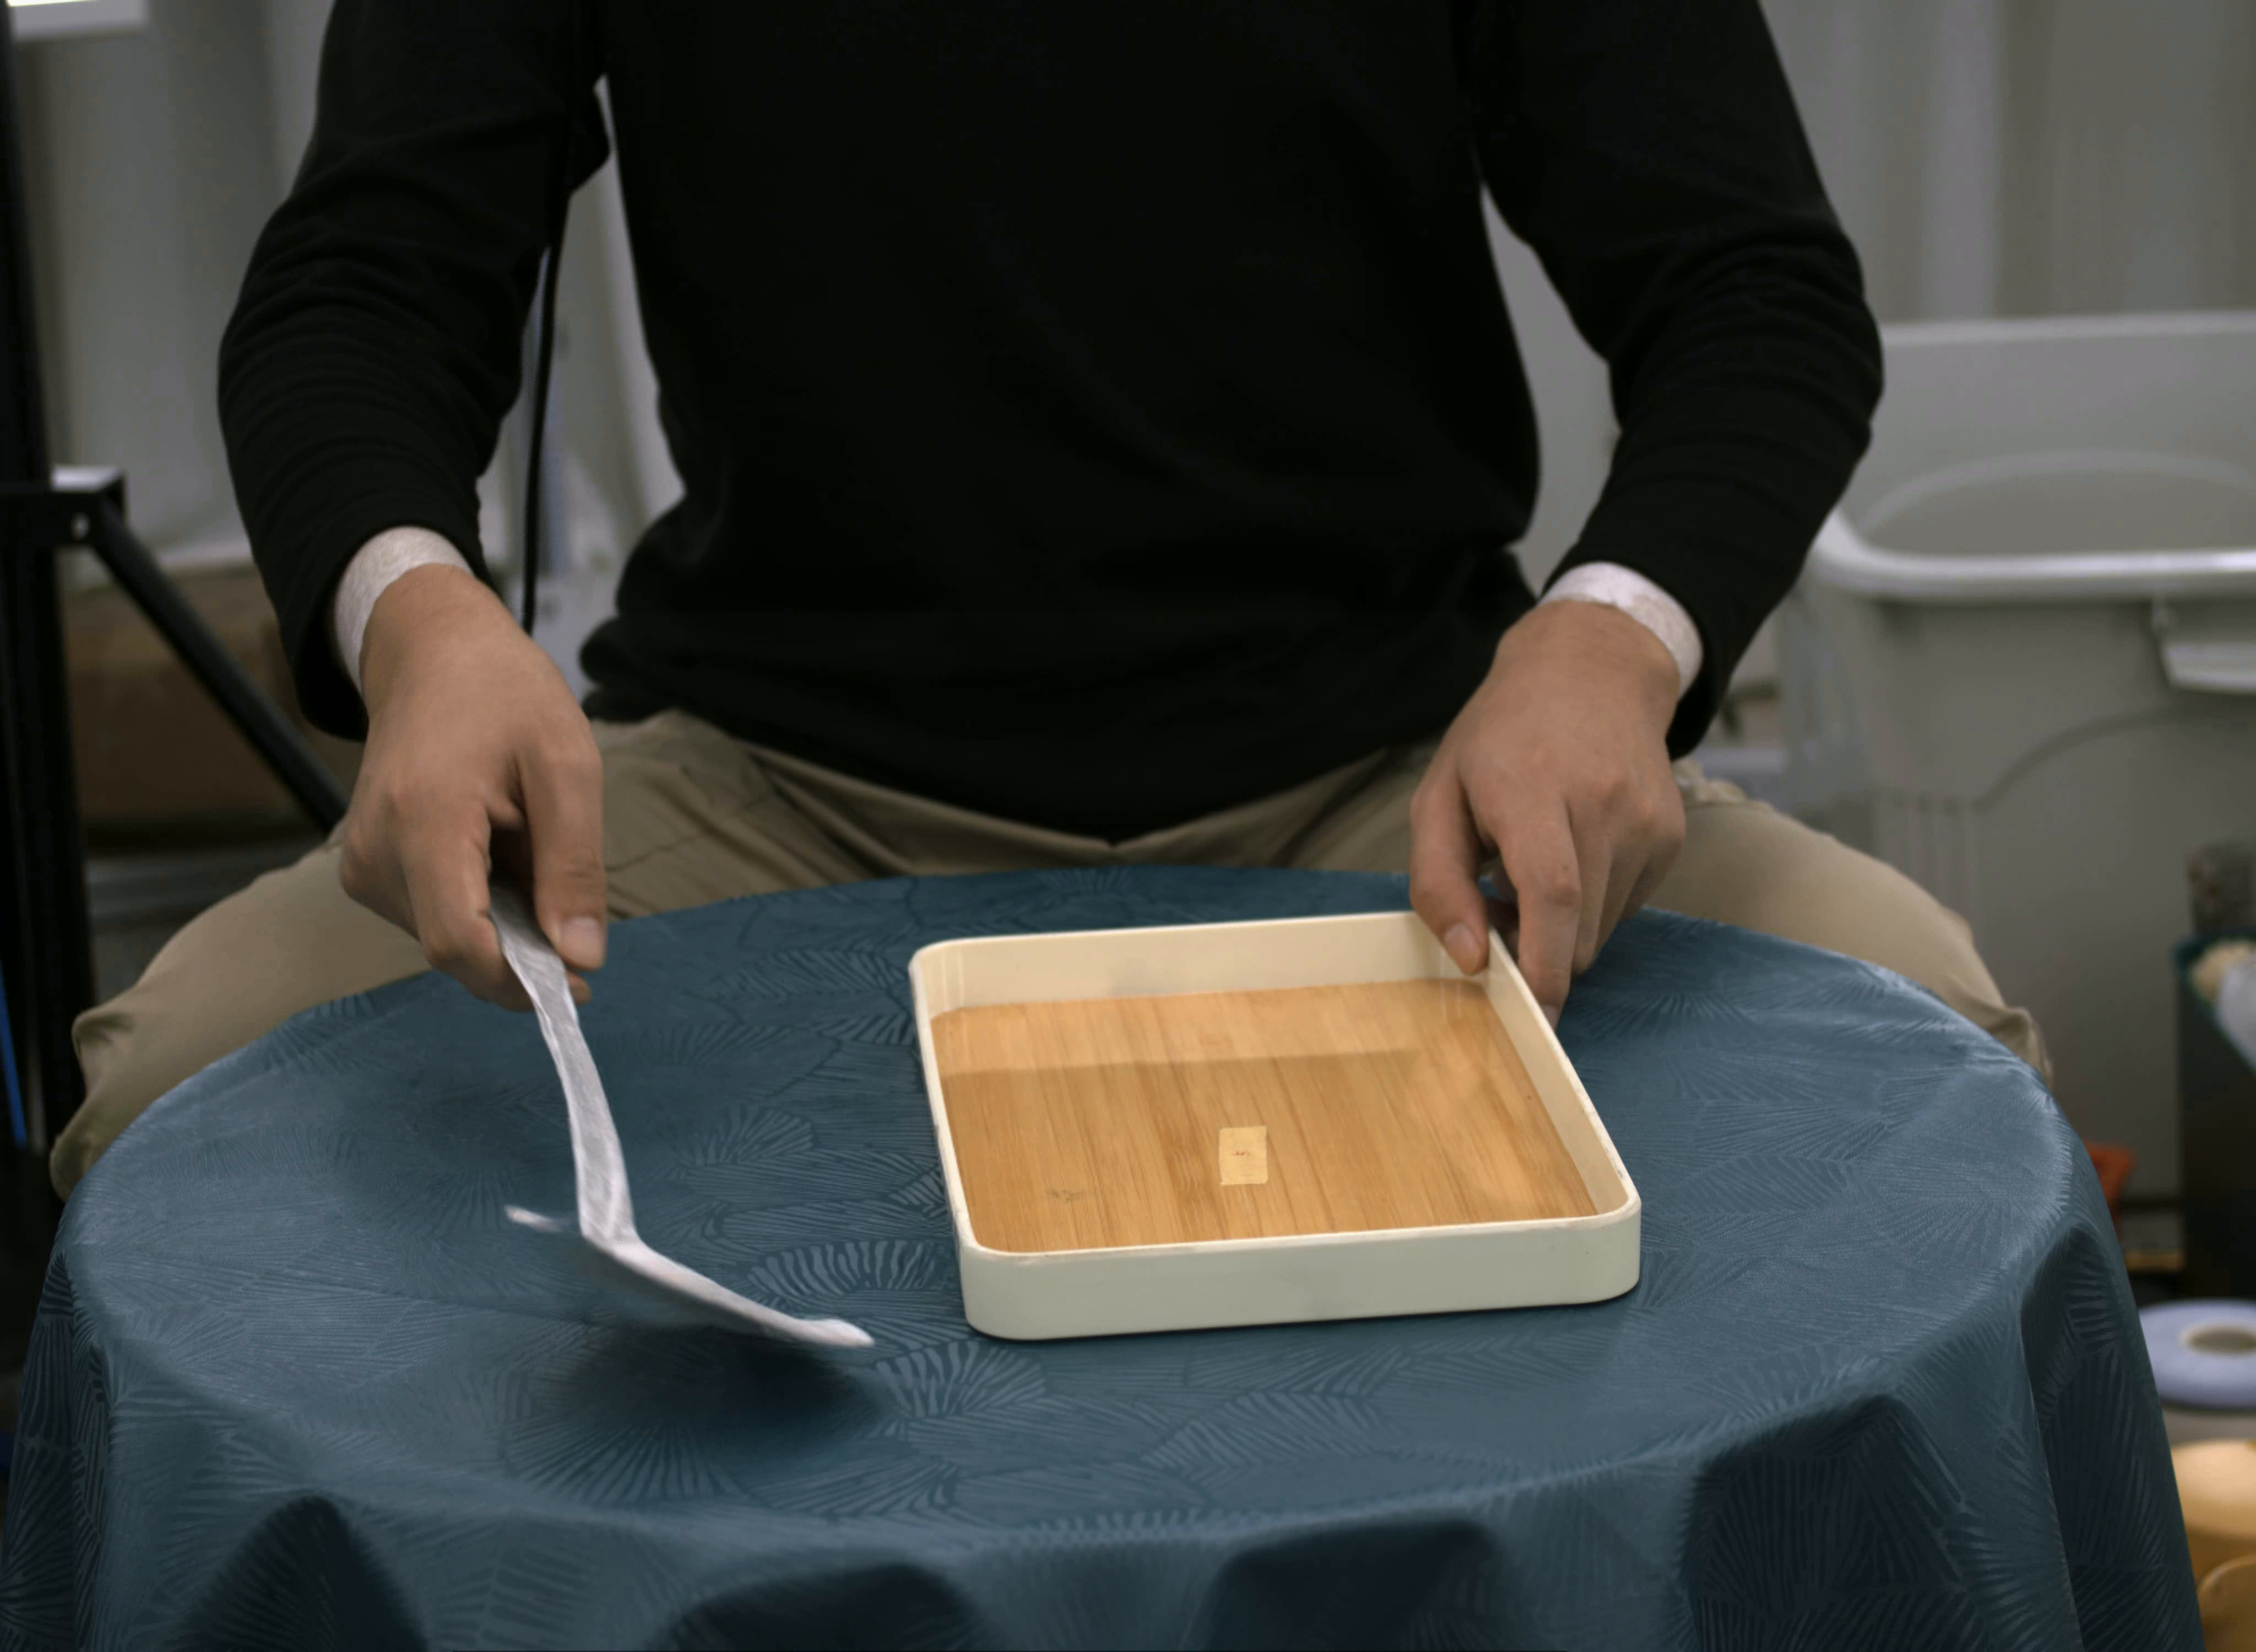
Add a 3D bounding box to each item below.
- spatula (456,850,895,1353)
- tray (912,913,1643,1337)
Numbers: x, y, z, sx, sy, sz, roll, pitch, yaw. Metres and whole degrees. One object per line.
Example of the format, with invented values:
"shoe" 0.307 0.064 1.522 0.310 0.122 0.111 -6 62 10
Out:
"spatula" -0.154 0.068 1.541 0.096 0.045 0.371 20 18 -24
"tray" 0.037 0.085 1.584 0.190 0.027 0.302 -4 16 -3
